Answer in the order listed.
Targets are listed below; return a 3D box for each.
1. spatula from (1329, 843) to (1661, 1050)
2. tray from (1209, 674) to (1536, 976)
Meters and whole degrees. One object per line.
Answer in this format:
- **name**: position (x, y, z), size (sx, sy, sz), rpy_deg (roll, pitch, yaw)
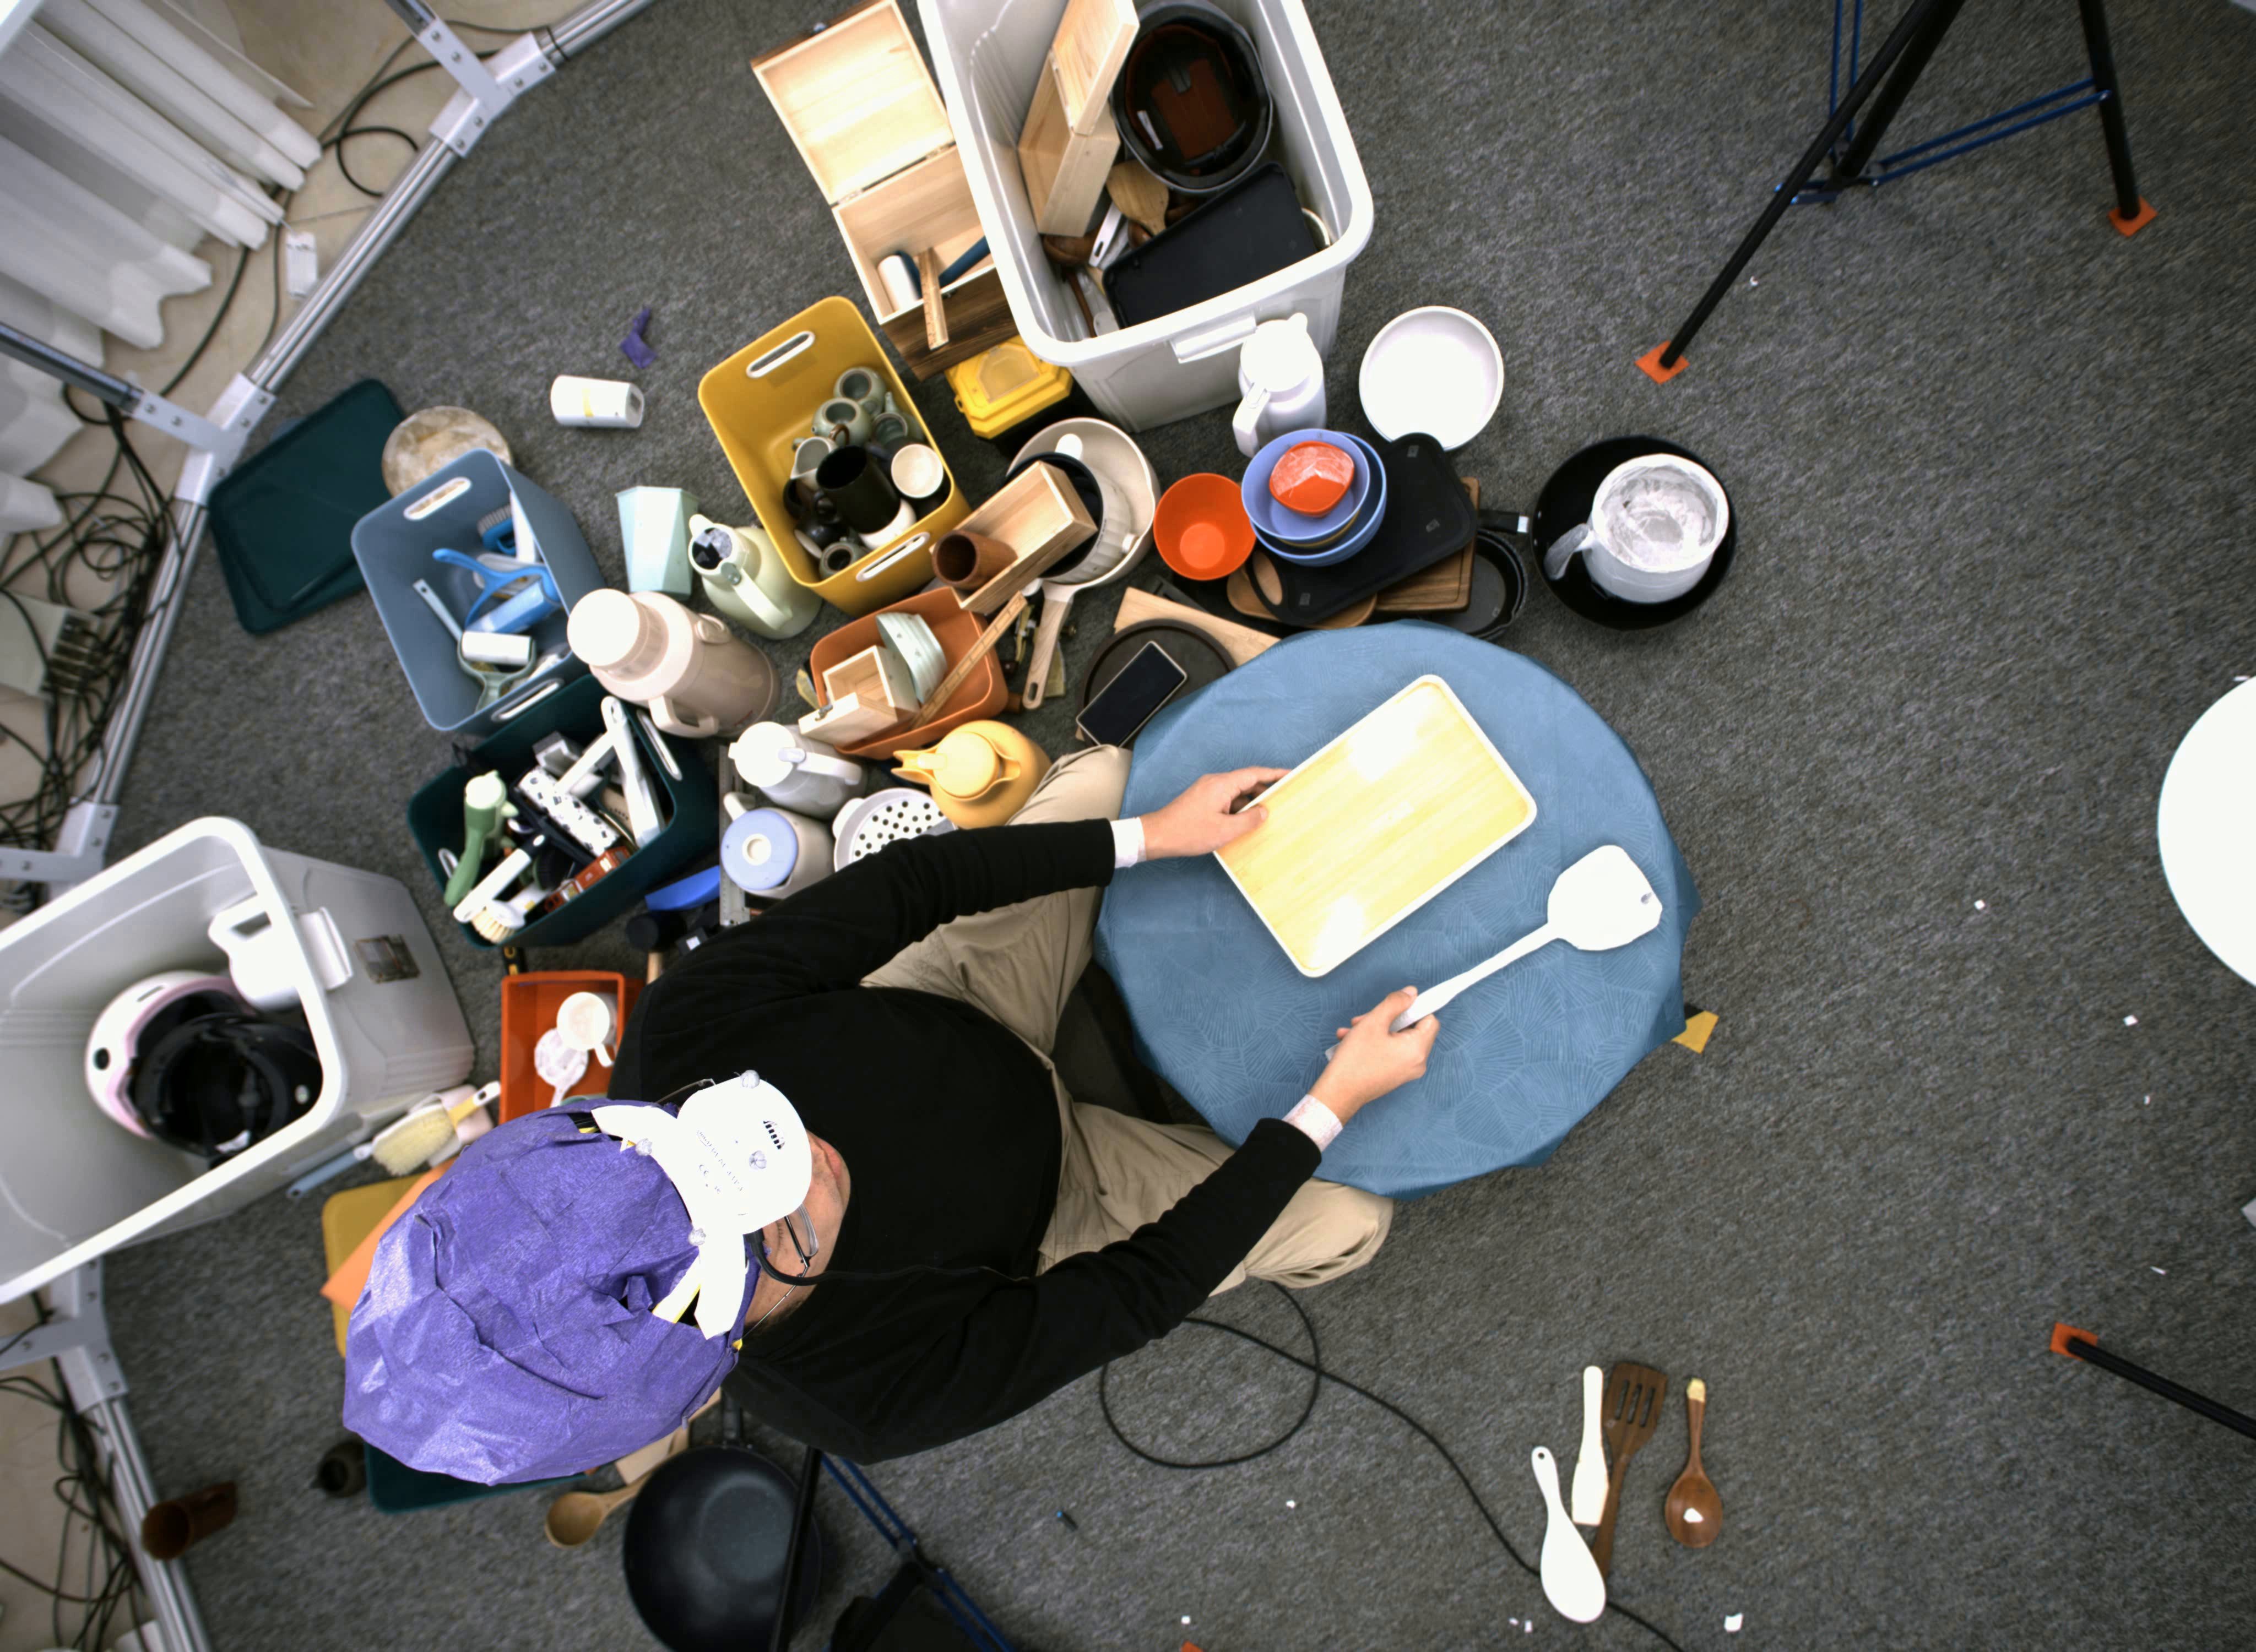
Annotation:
- **spatula**: position (0.368, 0.137, 1.399), size (0.364, 0.045, 0.098), rpy_deg (-28, 80, -4)
- **tray**: position (0.254, -0.002, 1.441), size (0.301, 0.027, 0.191), rpy_deg (-36, 88, 6)
